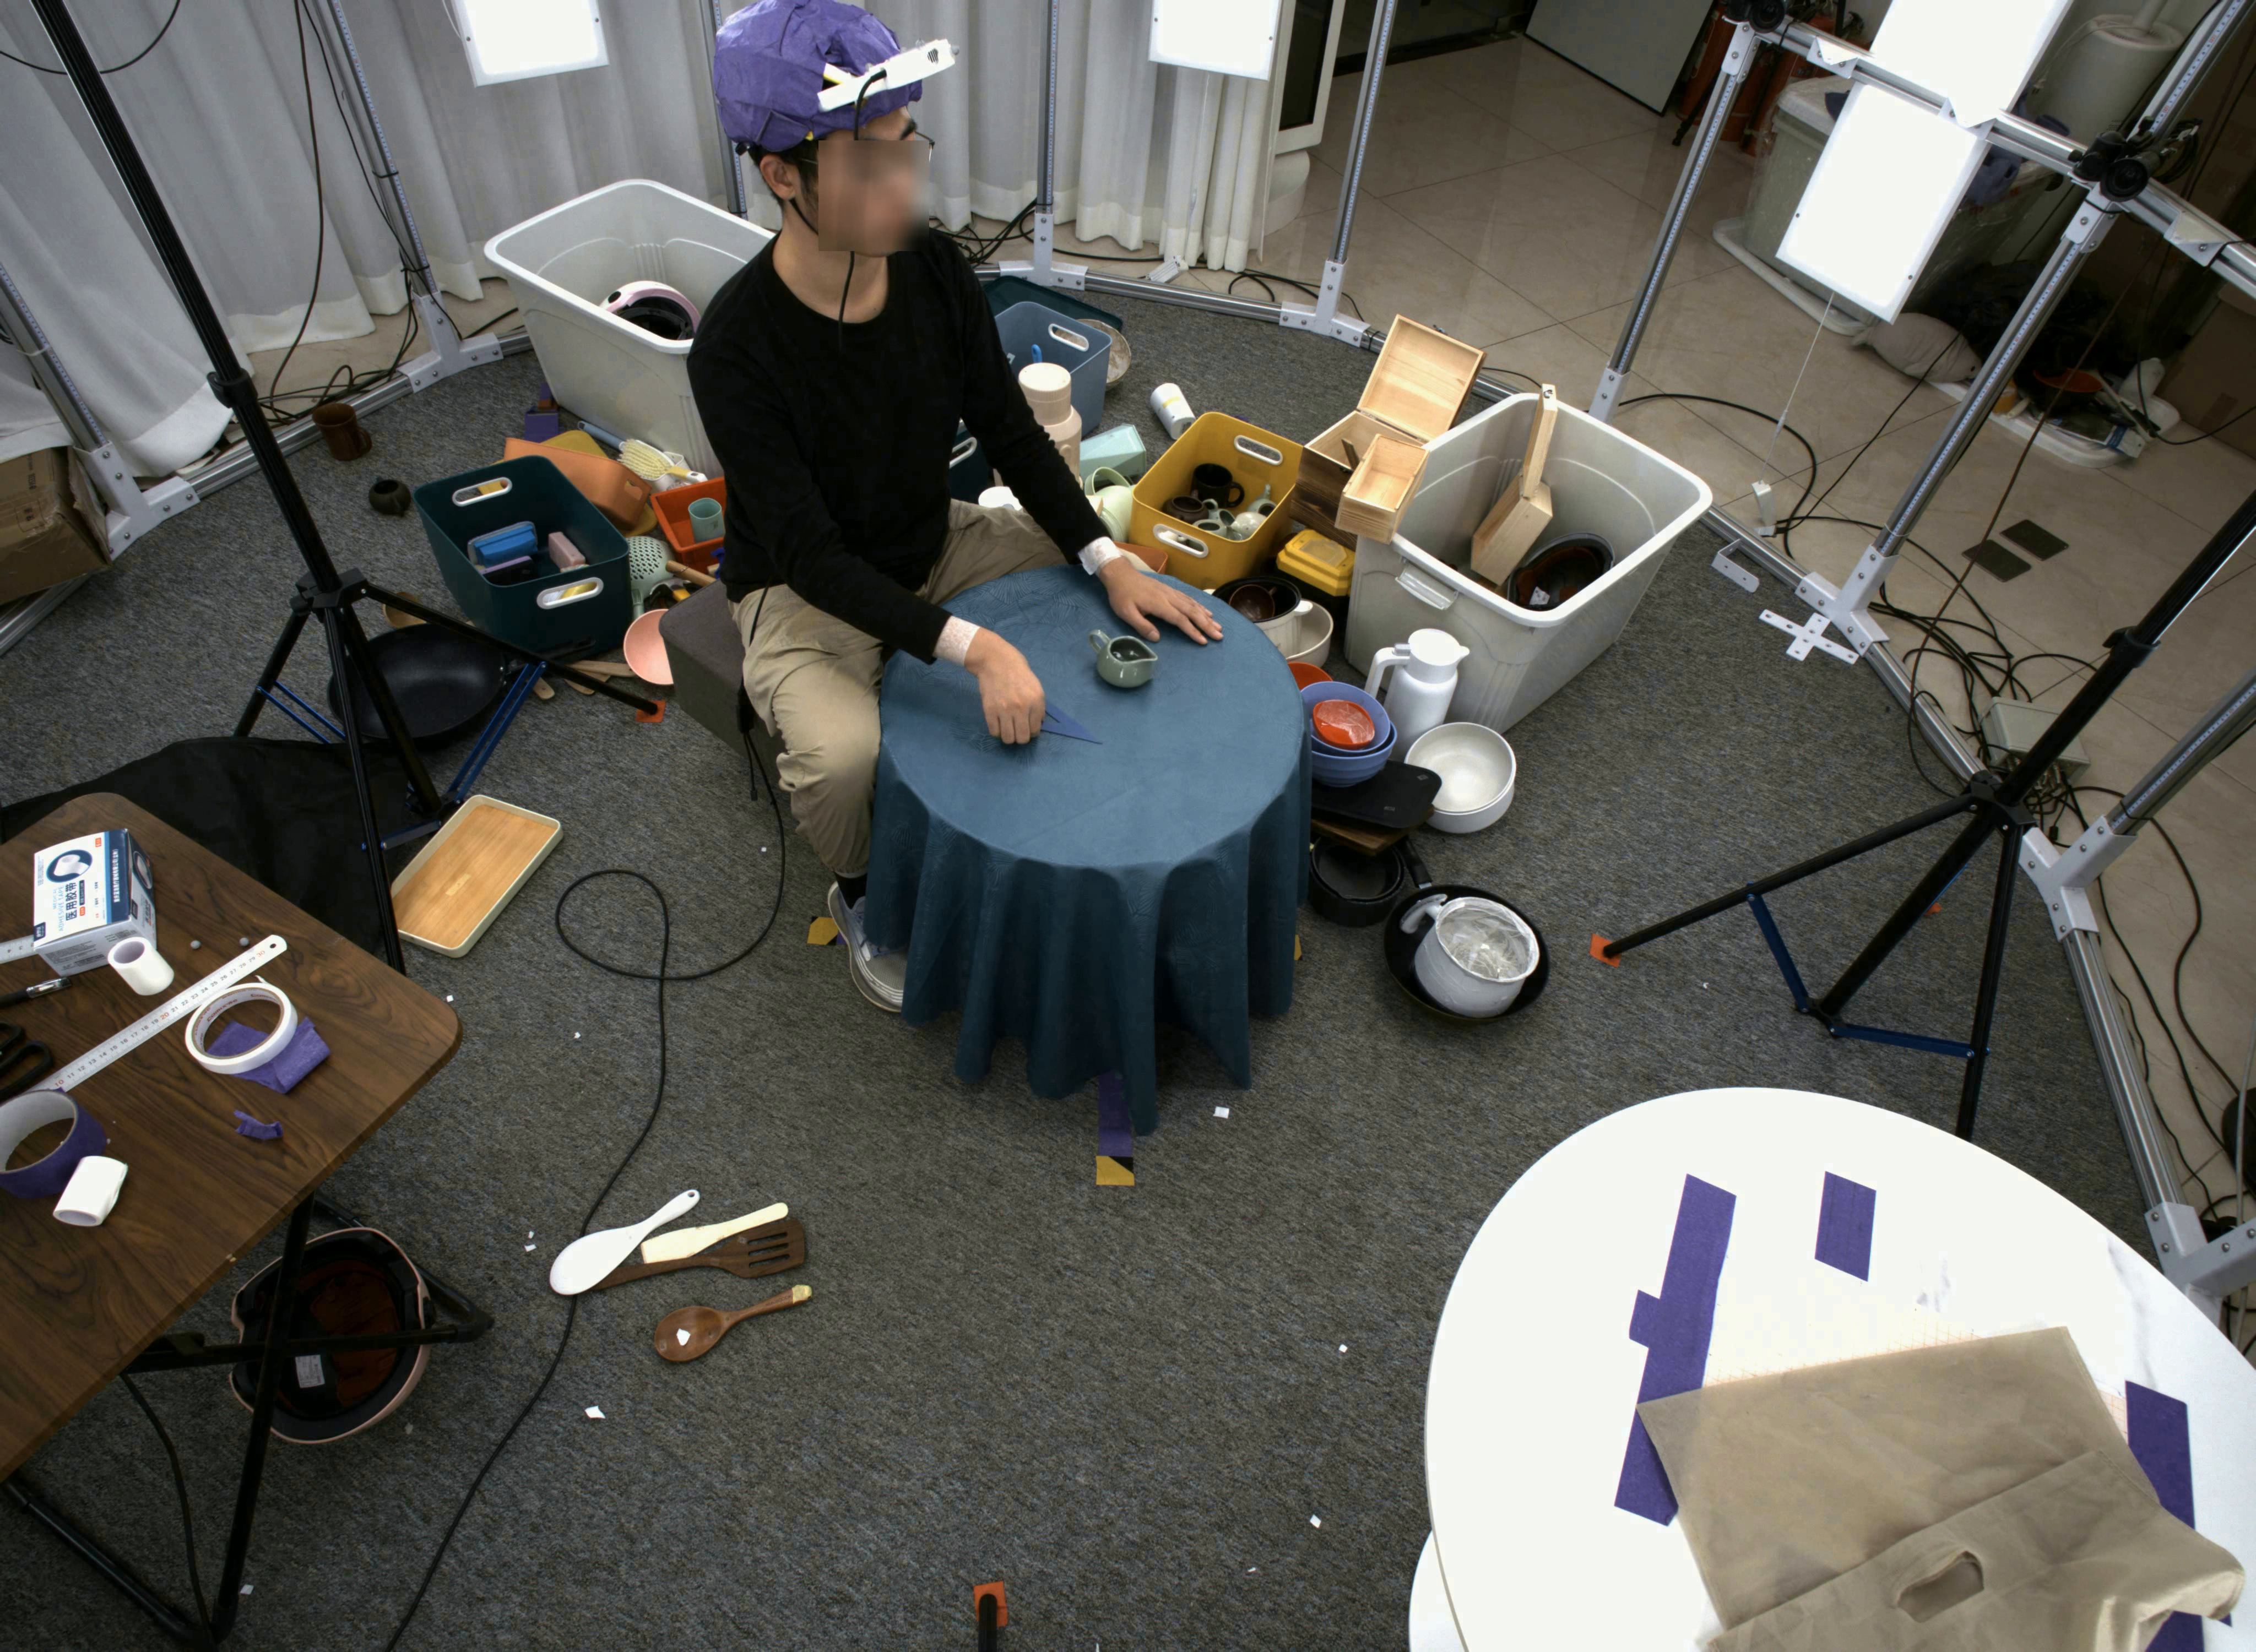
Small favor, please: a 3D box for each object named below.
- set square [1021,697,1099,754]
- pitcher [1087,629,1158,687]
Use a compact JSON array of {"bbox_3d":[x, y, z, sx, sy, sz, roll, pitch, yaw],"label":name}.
[{"bbox_3d":[-0.102,-0.131,1.773,0.061,0.006,0.134,-31,58,-29],"label":"set square"},{"bbox_3d":[-0.009,-0.243,1.844,0.113,0.055,0.085,25,50,17],"label":"pitcher"}]
